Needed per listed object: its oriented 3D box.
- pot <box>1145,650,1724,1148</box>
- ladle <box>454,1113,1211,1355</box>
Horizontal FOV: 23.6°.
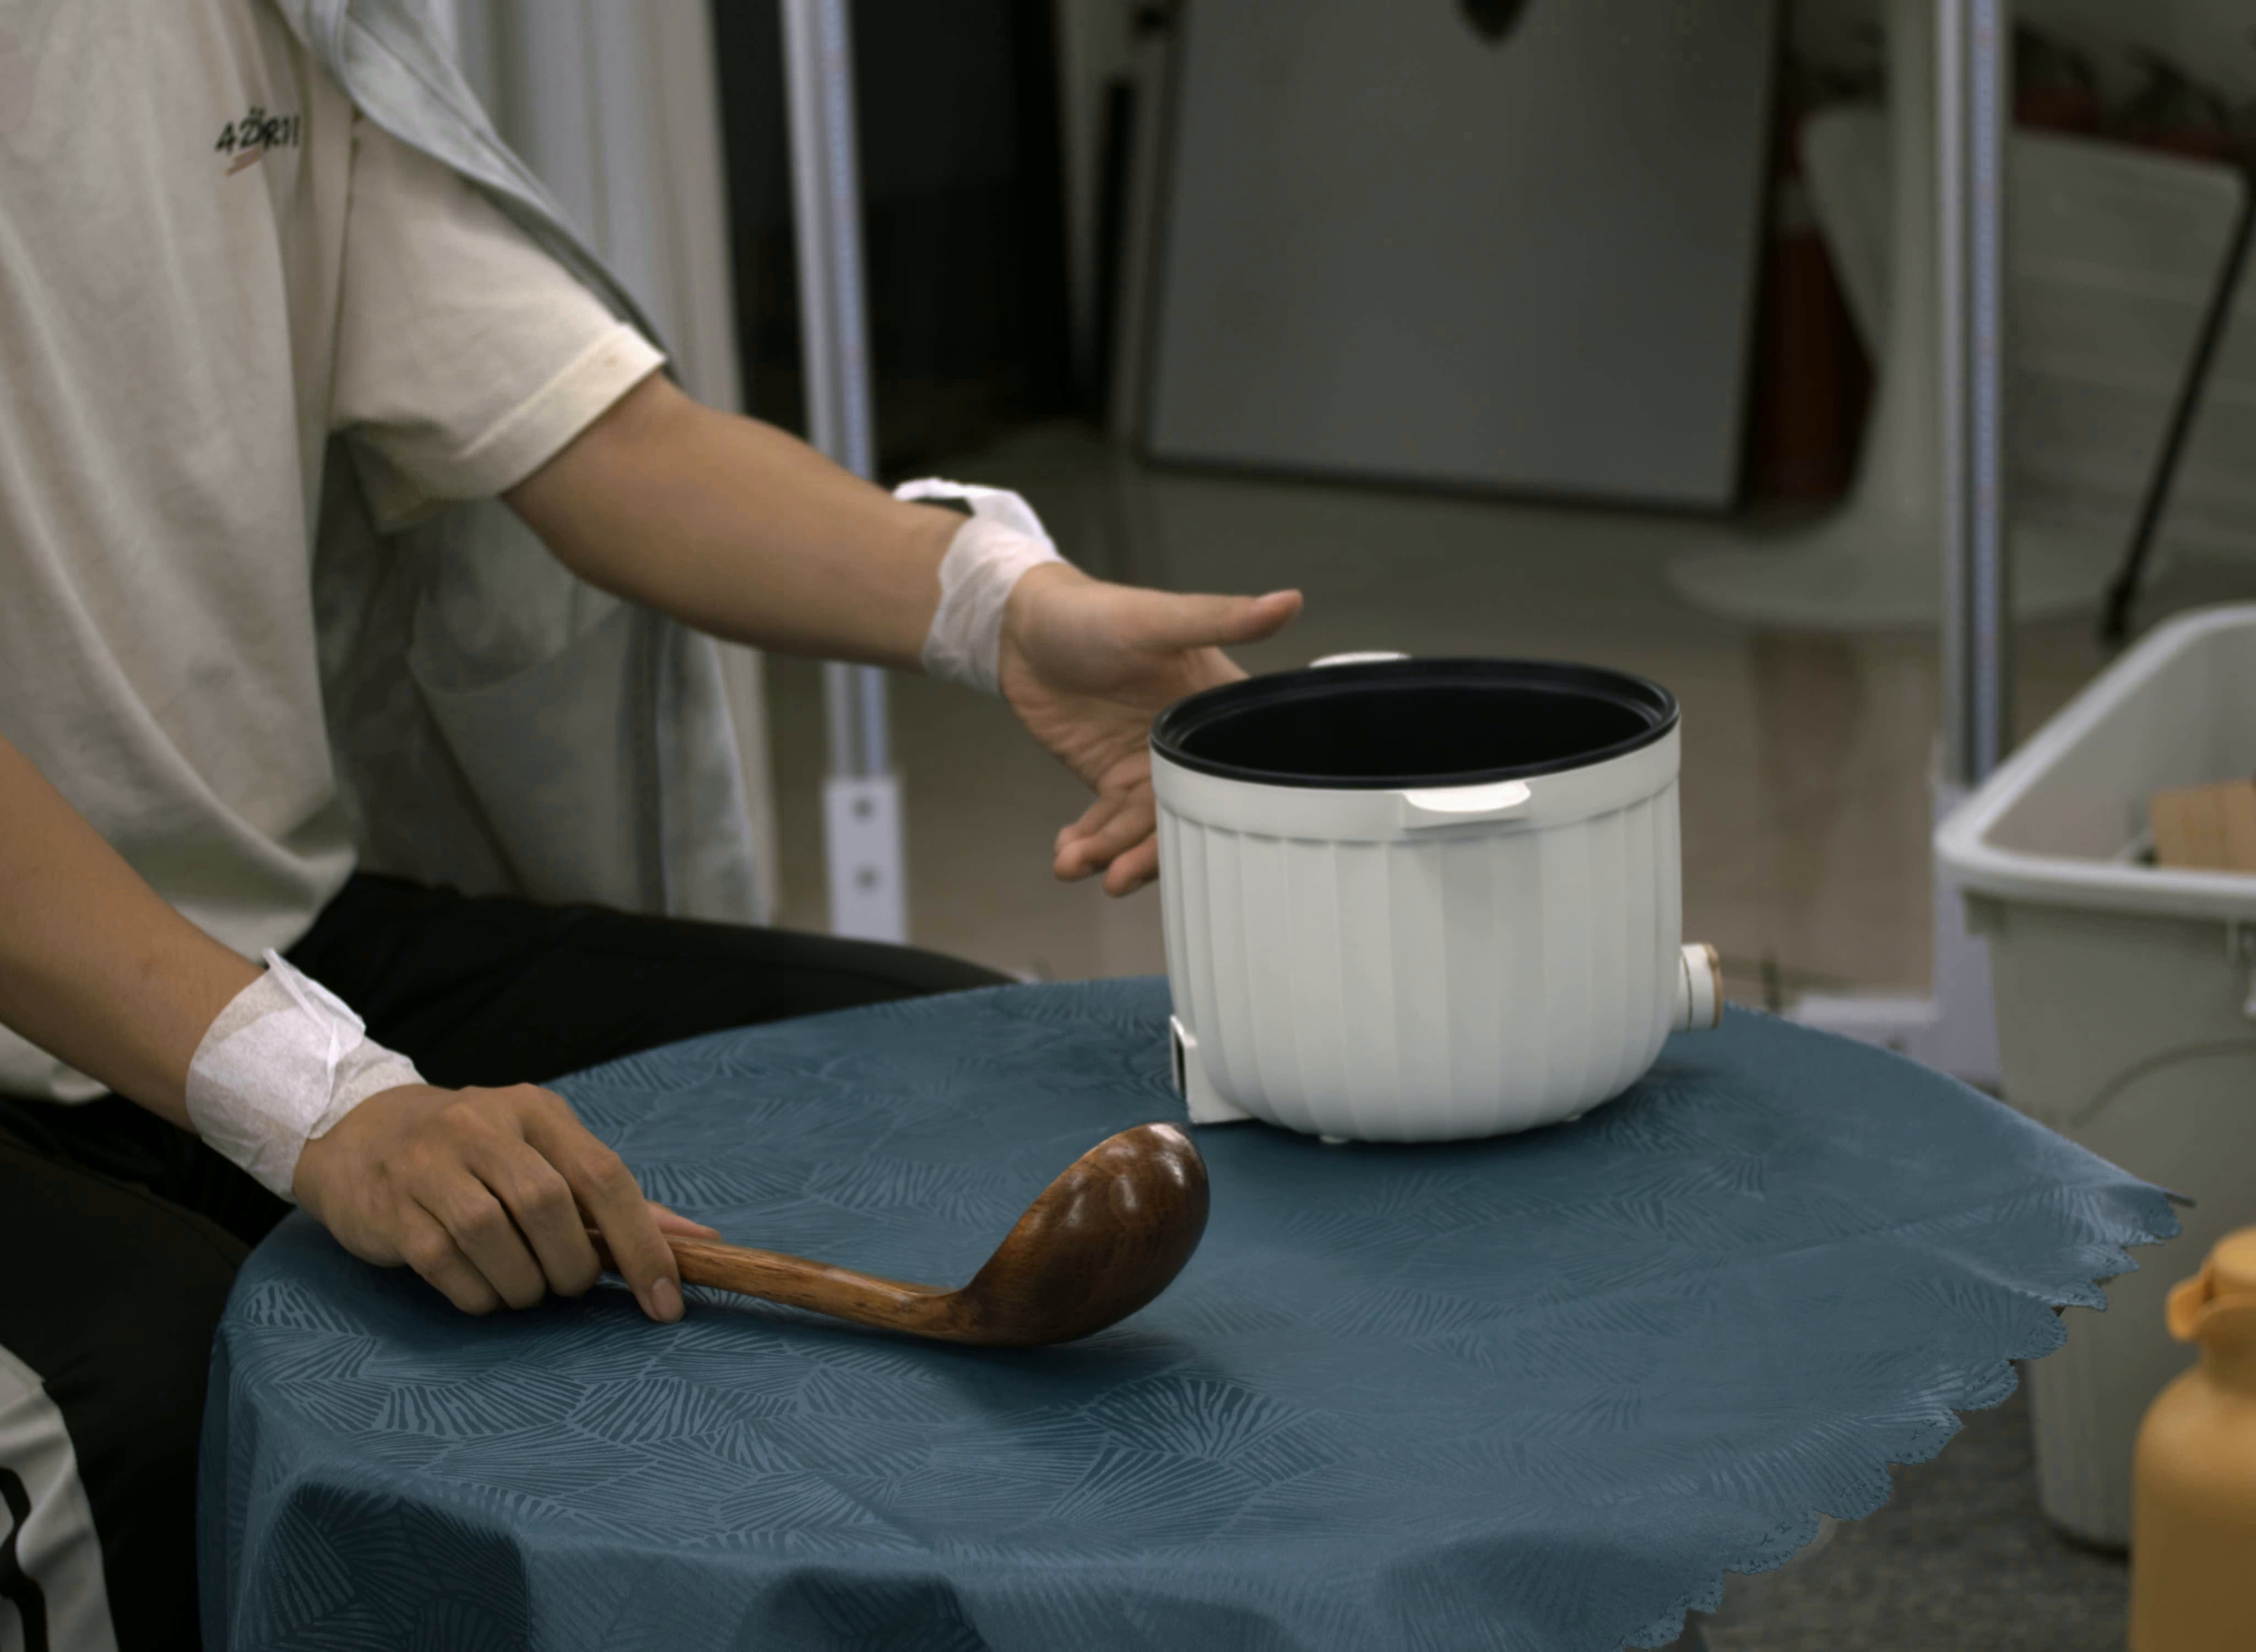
[{"bbox_3d":[0.106,0.025,1.841,0.187,0.144,0.241,-9,15,-5],"label":"pot"},{"bbox_3d":[-0.097,0.115,1.666,0.275,0.077,0.080,5,-6,34],"label":"ladle"}]
